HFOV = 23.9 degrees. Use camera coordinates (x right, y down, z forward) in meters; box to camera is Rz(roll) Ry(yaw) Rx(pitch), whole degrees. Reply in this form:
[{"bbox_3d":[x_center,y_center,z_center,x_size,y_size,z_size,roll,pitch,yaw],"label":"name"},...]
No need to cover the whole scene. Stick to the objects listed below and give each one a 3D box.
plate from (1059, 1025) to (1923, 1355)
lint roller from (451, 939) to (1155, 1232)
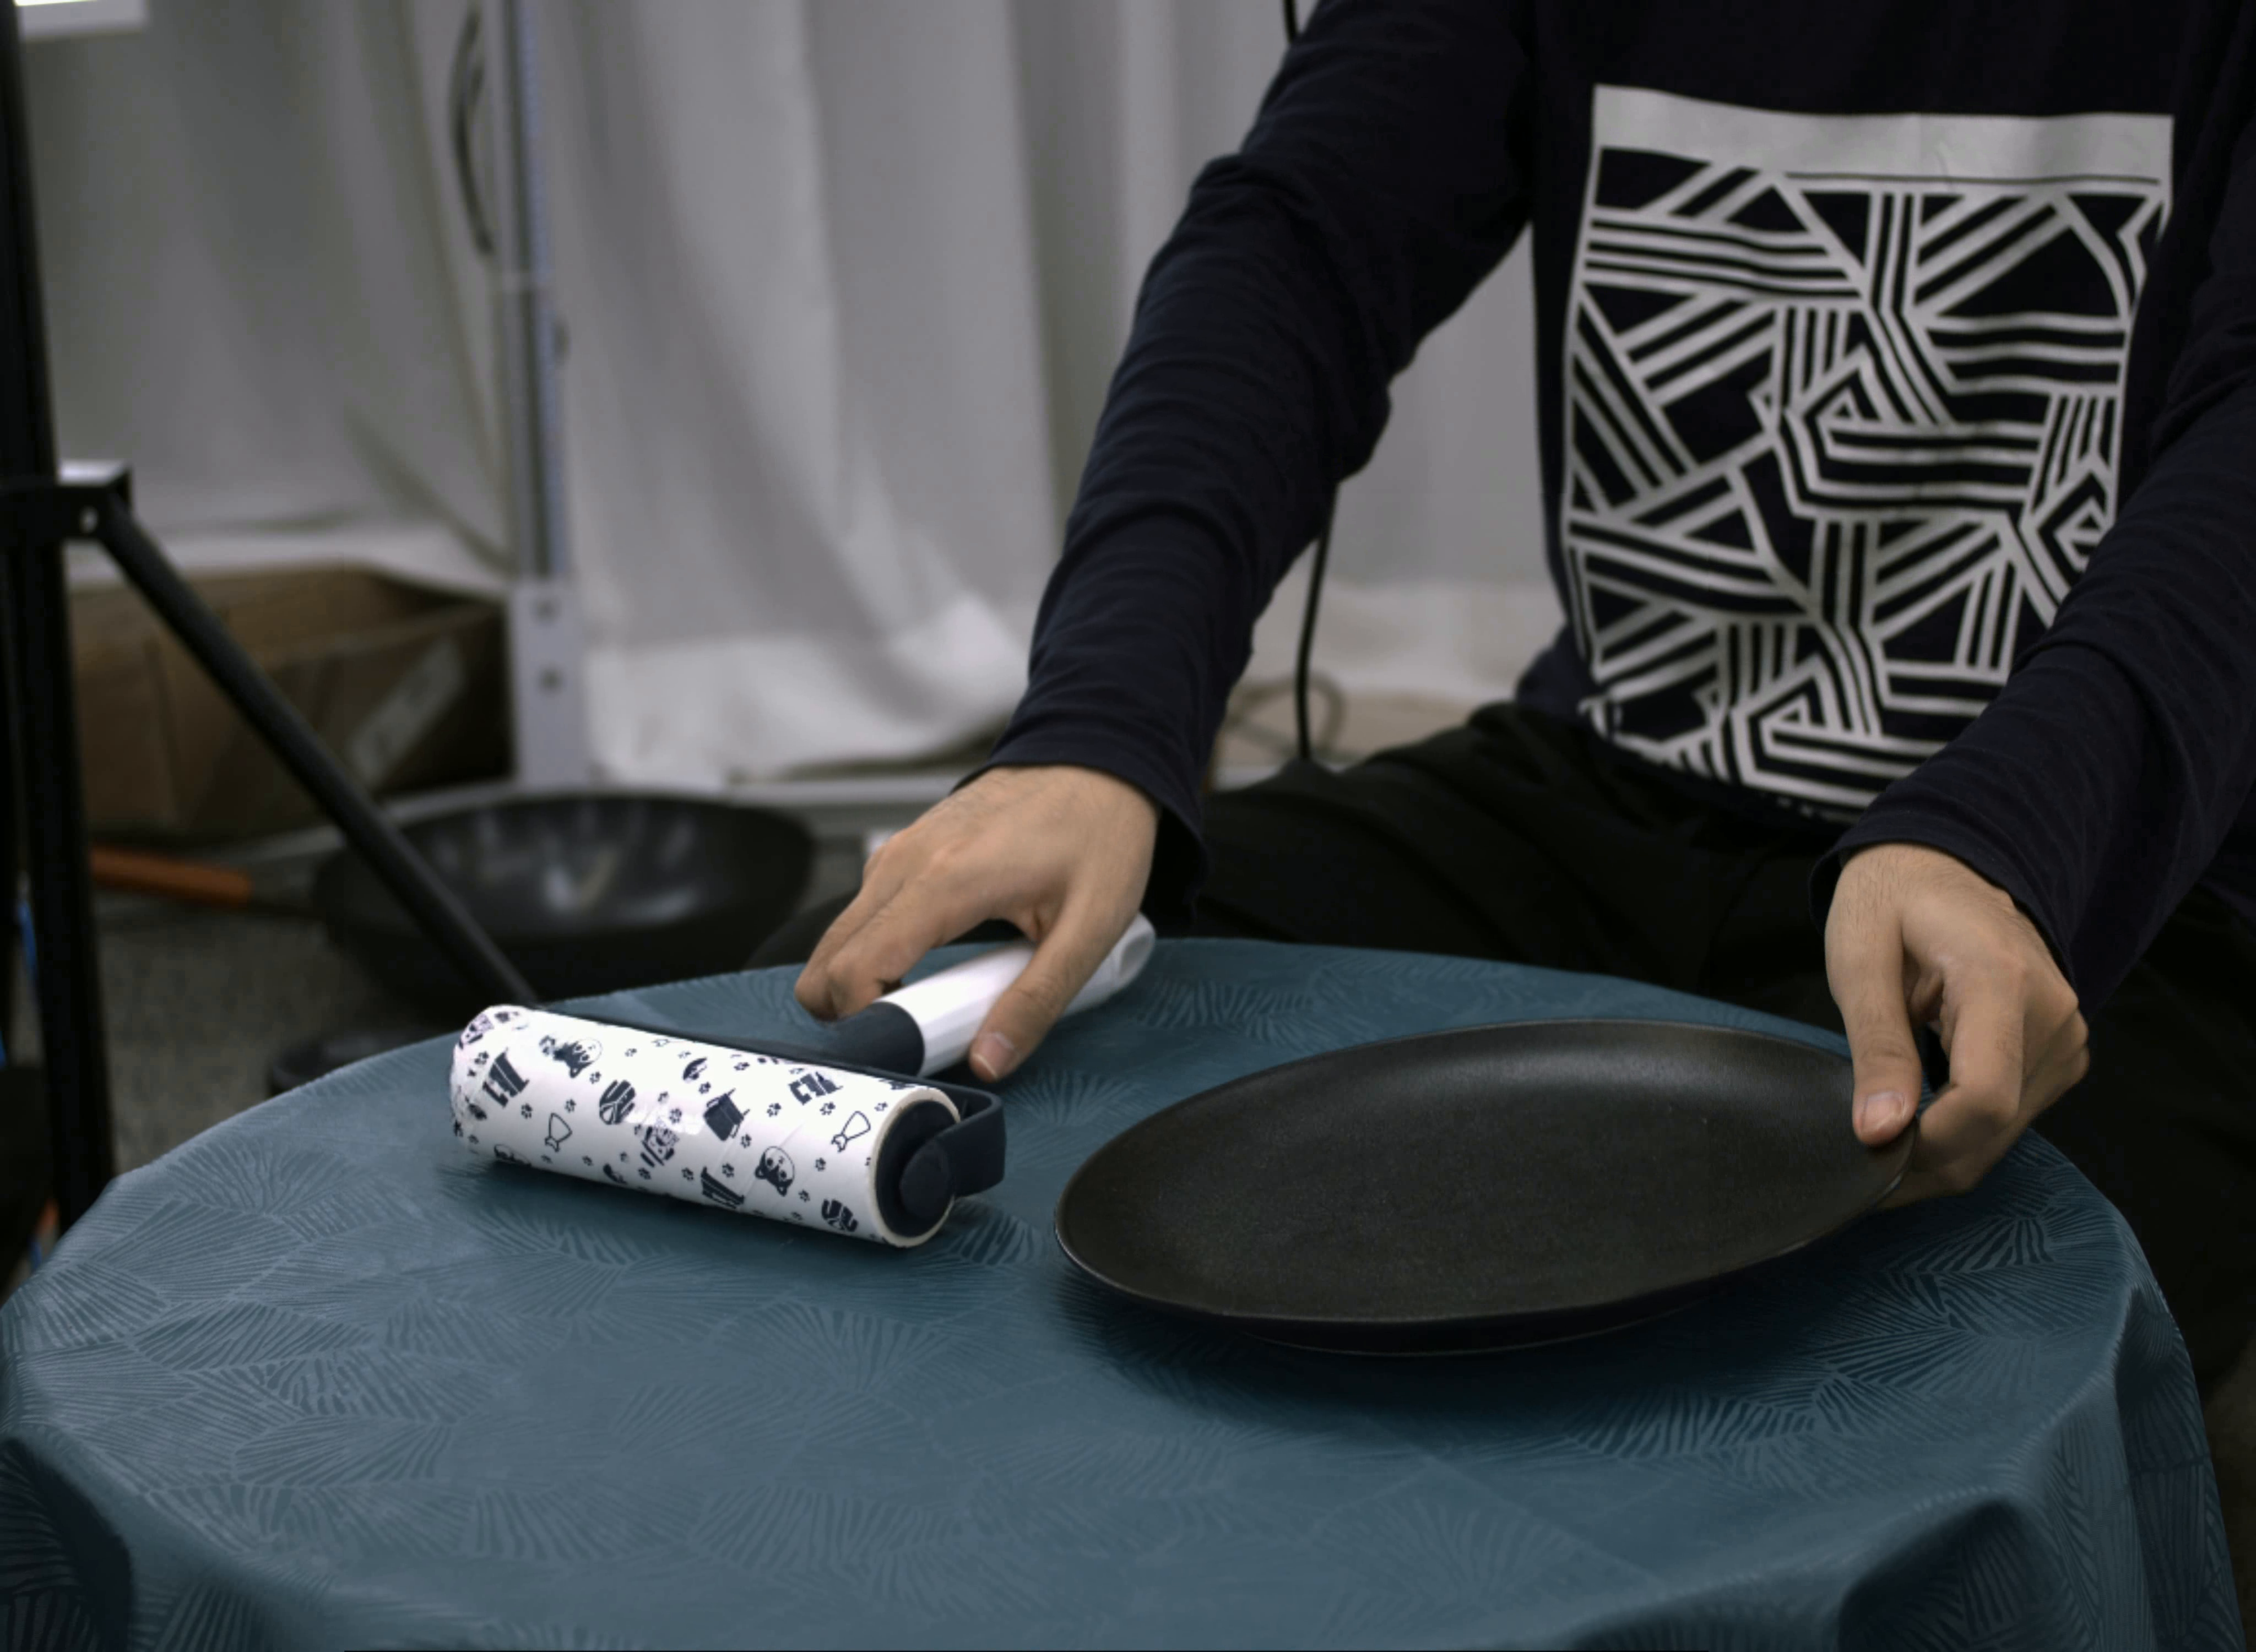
[{"bbox_3d":[0.102,0.105,1.488,0.243,0.023,0.245,-8,16,1],"label":"plate"},{"bbox_3d":[-0.069,0.064,1.646,0.180,0.050,0.242,8,17,35],"label":"lint roller"}]
